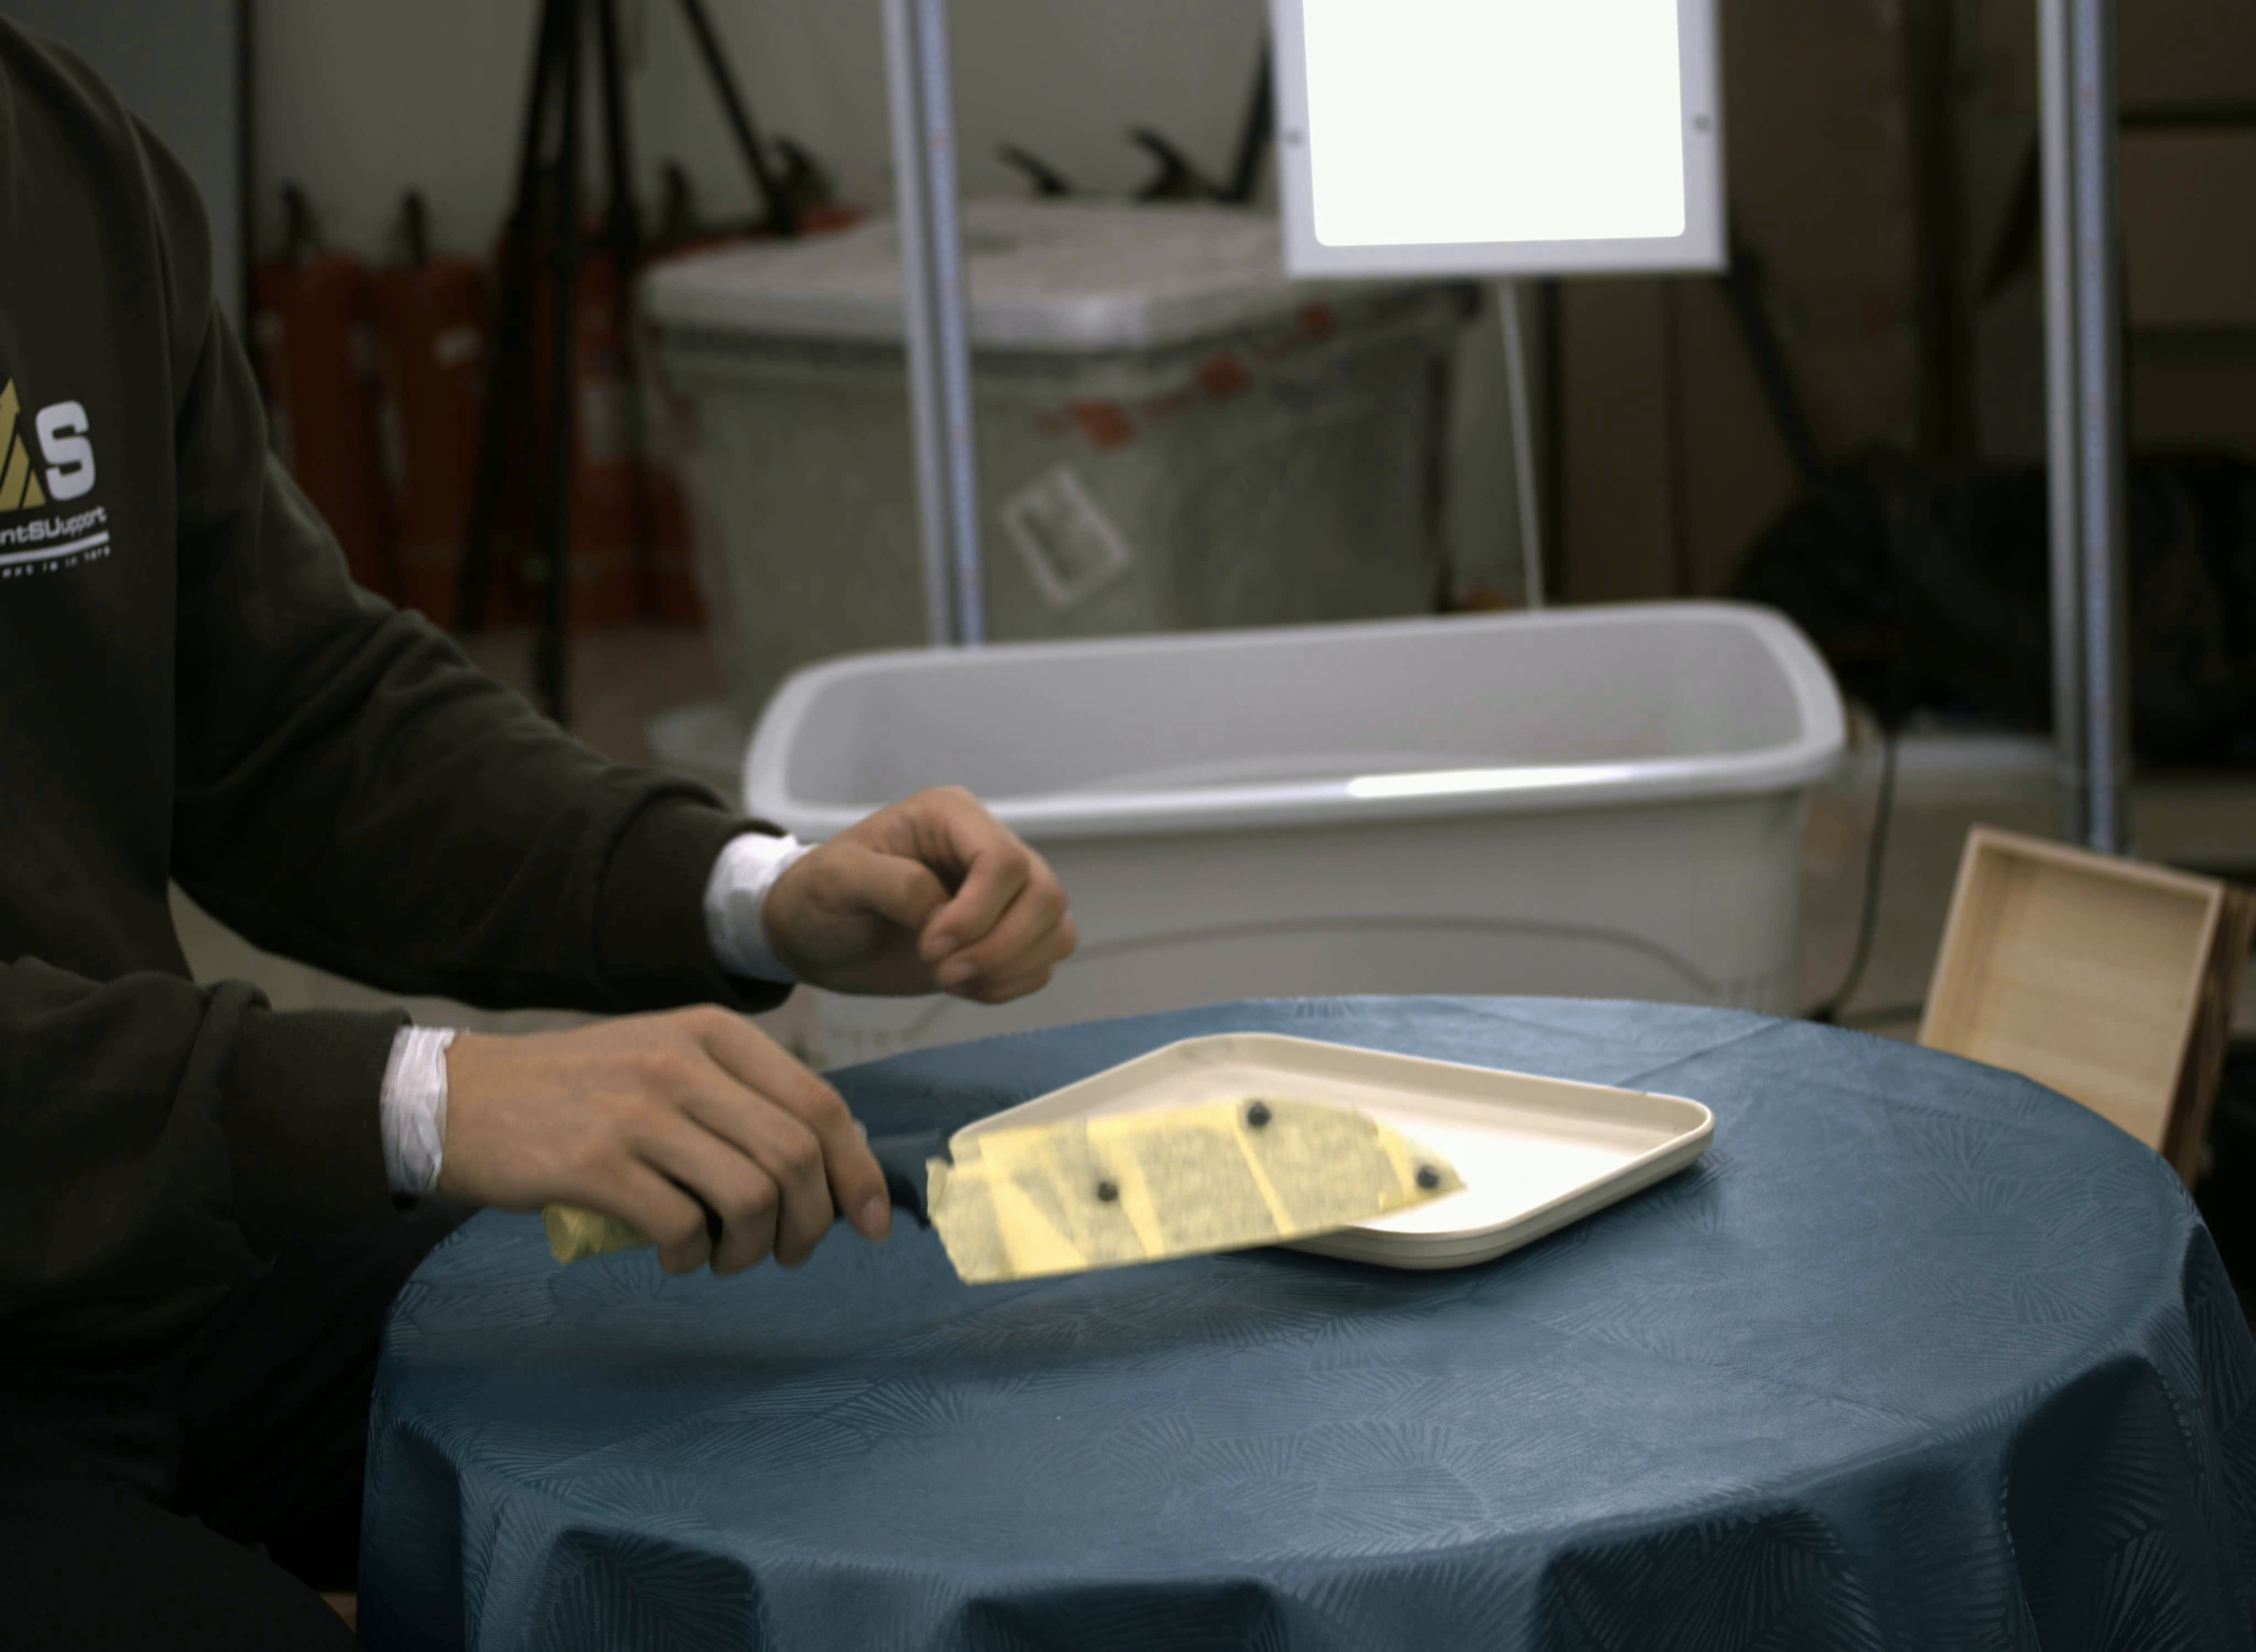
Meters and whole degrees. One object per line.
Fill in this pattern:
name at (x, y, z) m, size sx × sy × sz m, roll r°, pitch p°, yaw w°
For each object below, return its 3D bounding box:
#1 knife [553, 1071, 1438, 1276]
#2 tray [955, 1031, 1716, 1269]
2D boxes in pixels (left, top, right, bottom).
knife at (-0.039, 0.116, 1.762) m, size 0.286 × 0.027 × 0.081 m, roll -8°, pitch 35°, yaw -9°
tray at (0.070, 0.111, 1.901) m, size 0.245 × 0.017 × 0.167 m, roll 7°, pitch 19°, yaw 42°
